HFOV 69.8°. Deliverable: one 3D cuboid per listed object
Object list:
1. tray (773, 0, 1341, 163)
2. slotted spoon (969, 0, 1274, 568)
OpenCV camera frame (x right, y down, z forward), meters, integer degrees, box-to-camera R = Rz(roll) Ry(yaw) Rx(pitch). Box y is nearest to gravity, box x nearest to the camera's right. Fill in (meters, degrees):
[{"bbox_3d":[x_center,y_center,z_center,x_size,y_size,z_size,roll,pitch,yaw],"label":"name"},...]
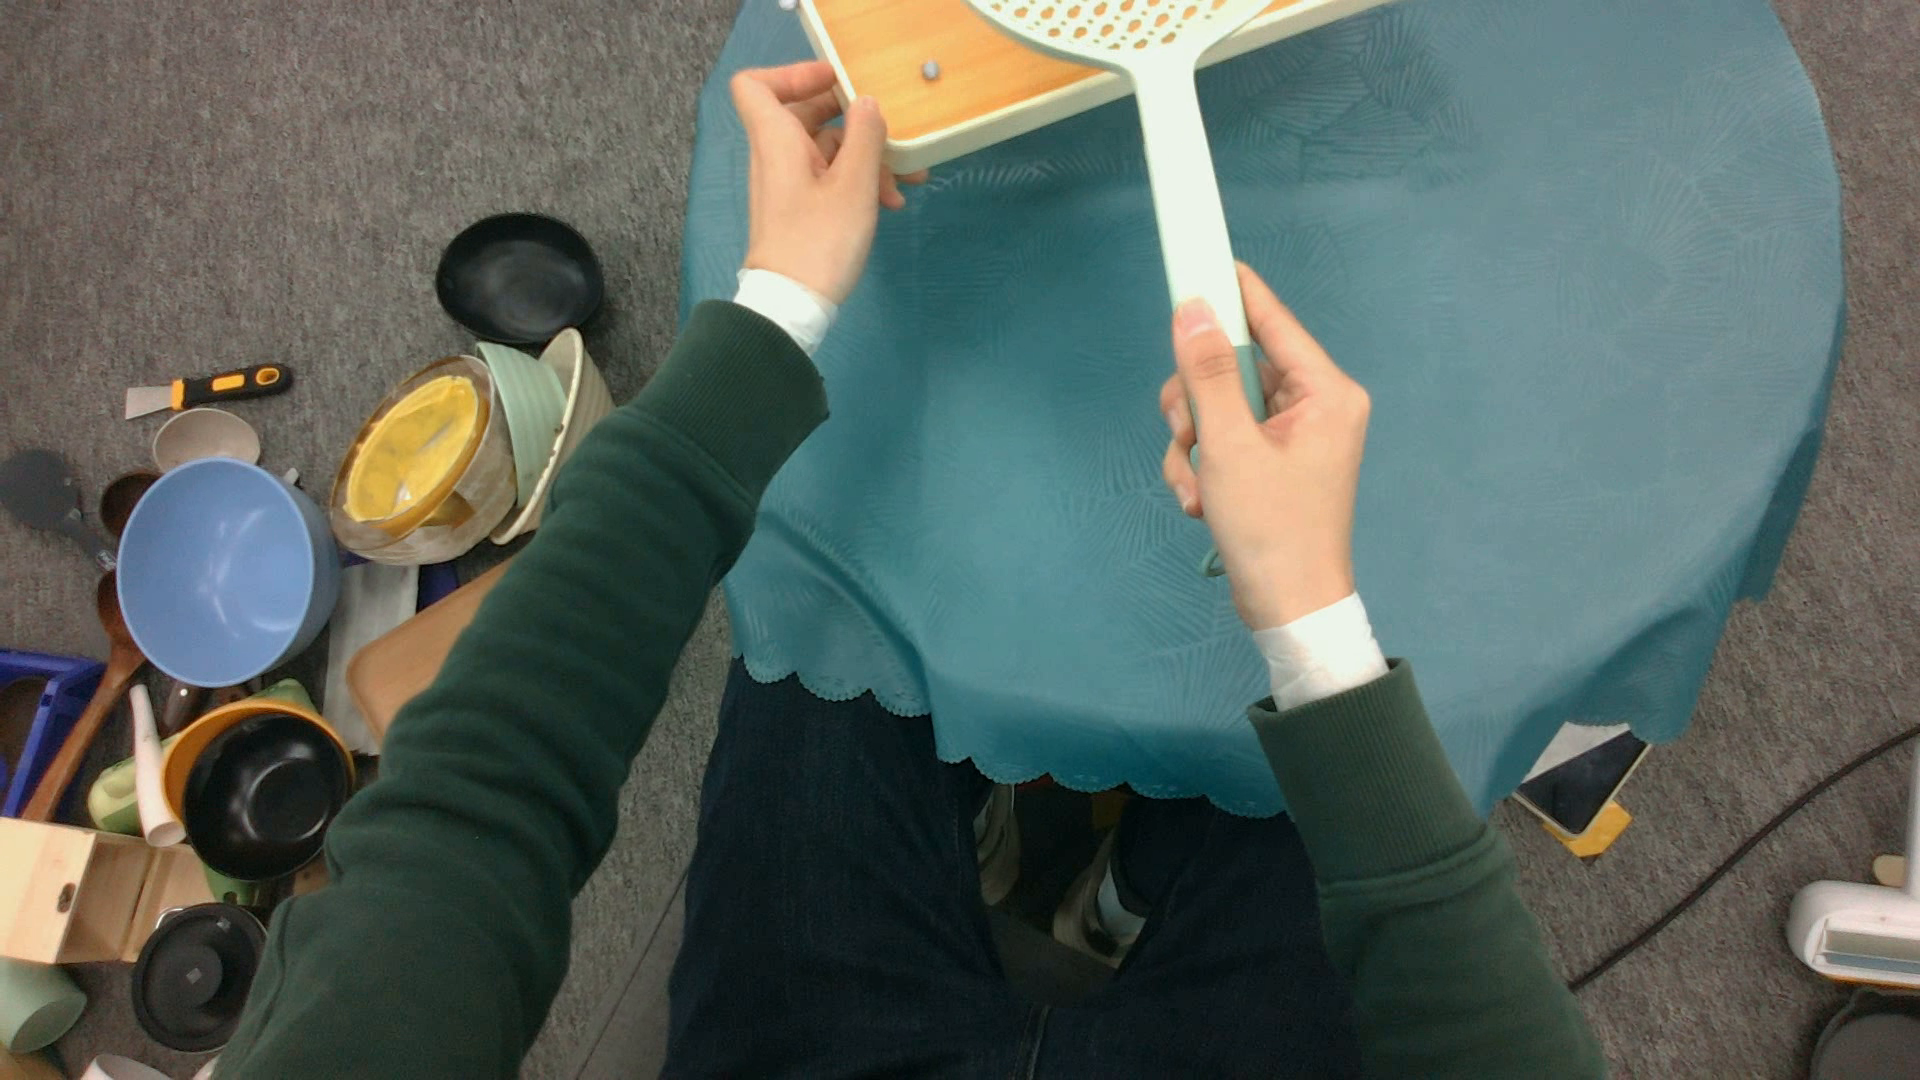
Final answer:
[{"bbox_3d":[0.050,-0.306,0.653,0.301,0.027,0.192,-23,79,-11],"label":"tray"},{"bbox_3d":[0.071,-0.170,0.512,0.169,0.075,0.359,-10,76,-3],"label":"slotted spoon"}]
